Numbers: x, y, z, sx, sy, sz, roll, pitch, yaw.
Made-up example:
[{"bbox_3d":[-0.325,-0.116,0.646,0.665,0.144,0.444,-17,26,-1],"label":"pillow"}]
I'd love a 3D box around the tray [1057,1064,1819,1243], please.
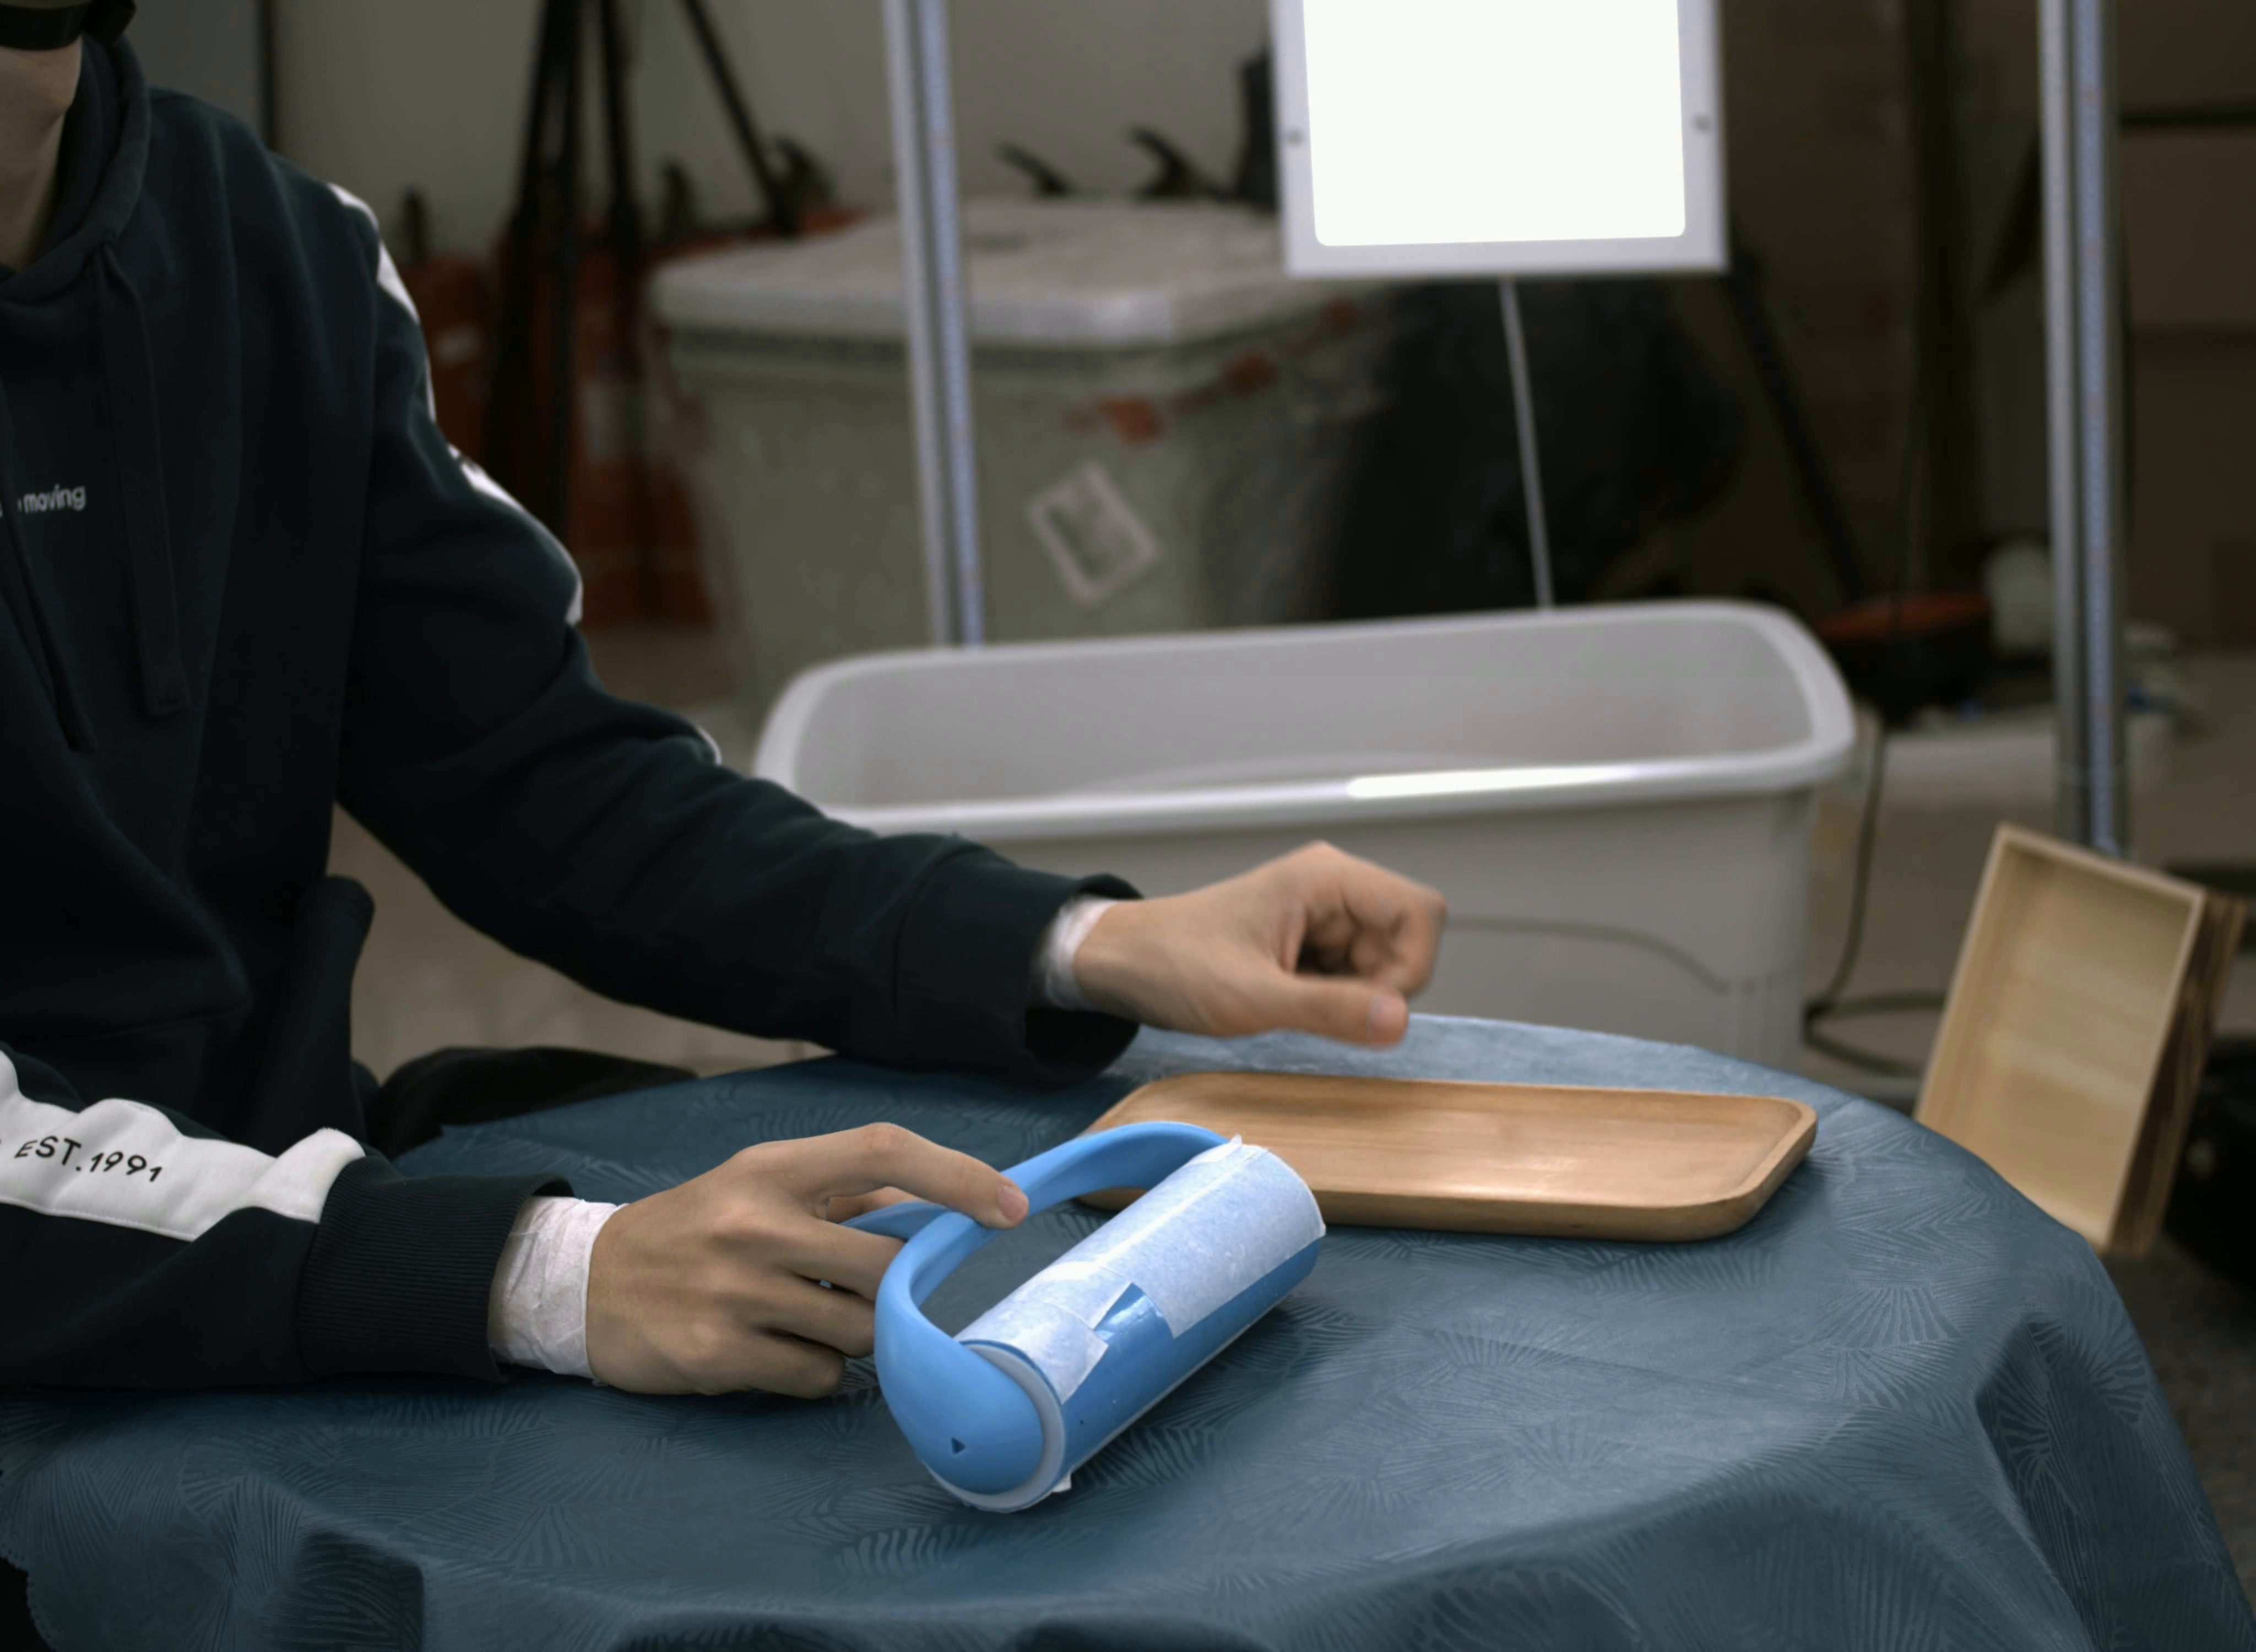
[{"bbox_3d":[0.106,0.111,1.882,0.255,0.023,0.128,1,13,25],"label":"tray"}]

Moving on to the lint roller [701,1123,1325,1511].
[{"bbox_3d":[-0.055,0.148,1.708,0.183,0.068,0.224,2,17,23],"label":"lint roller"}]
